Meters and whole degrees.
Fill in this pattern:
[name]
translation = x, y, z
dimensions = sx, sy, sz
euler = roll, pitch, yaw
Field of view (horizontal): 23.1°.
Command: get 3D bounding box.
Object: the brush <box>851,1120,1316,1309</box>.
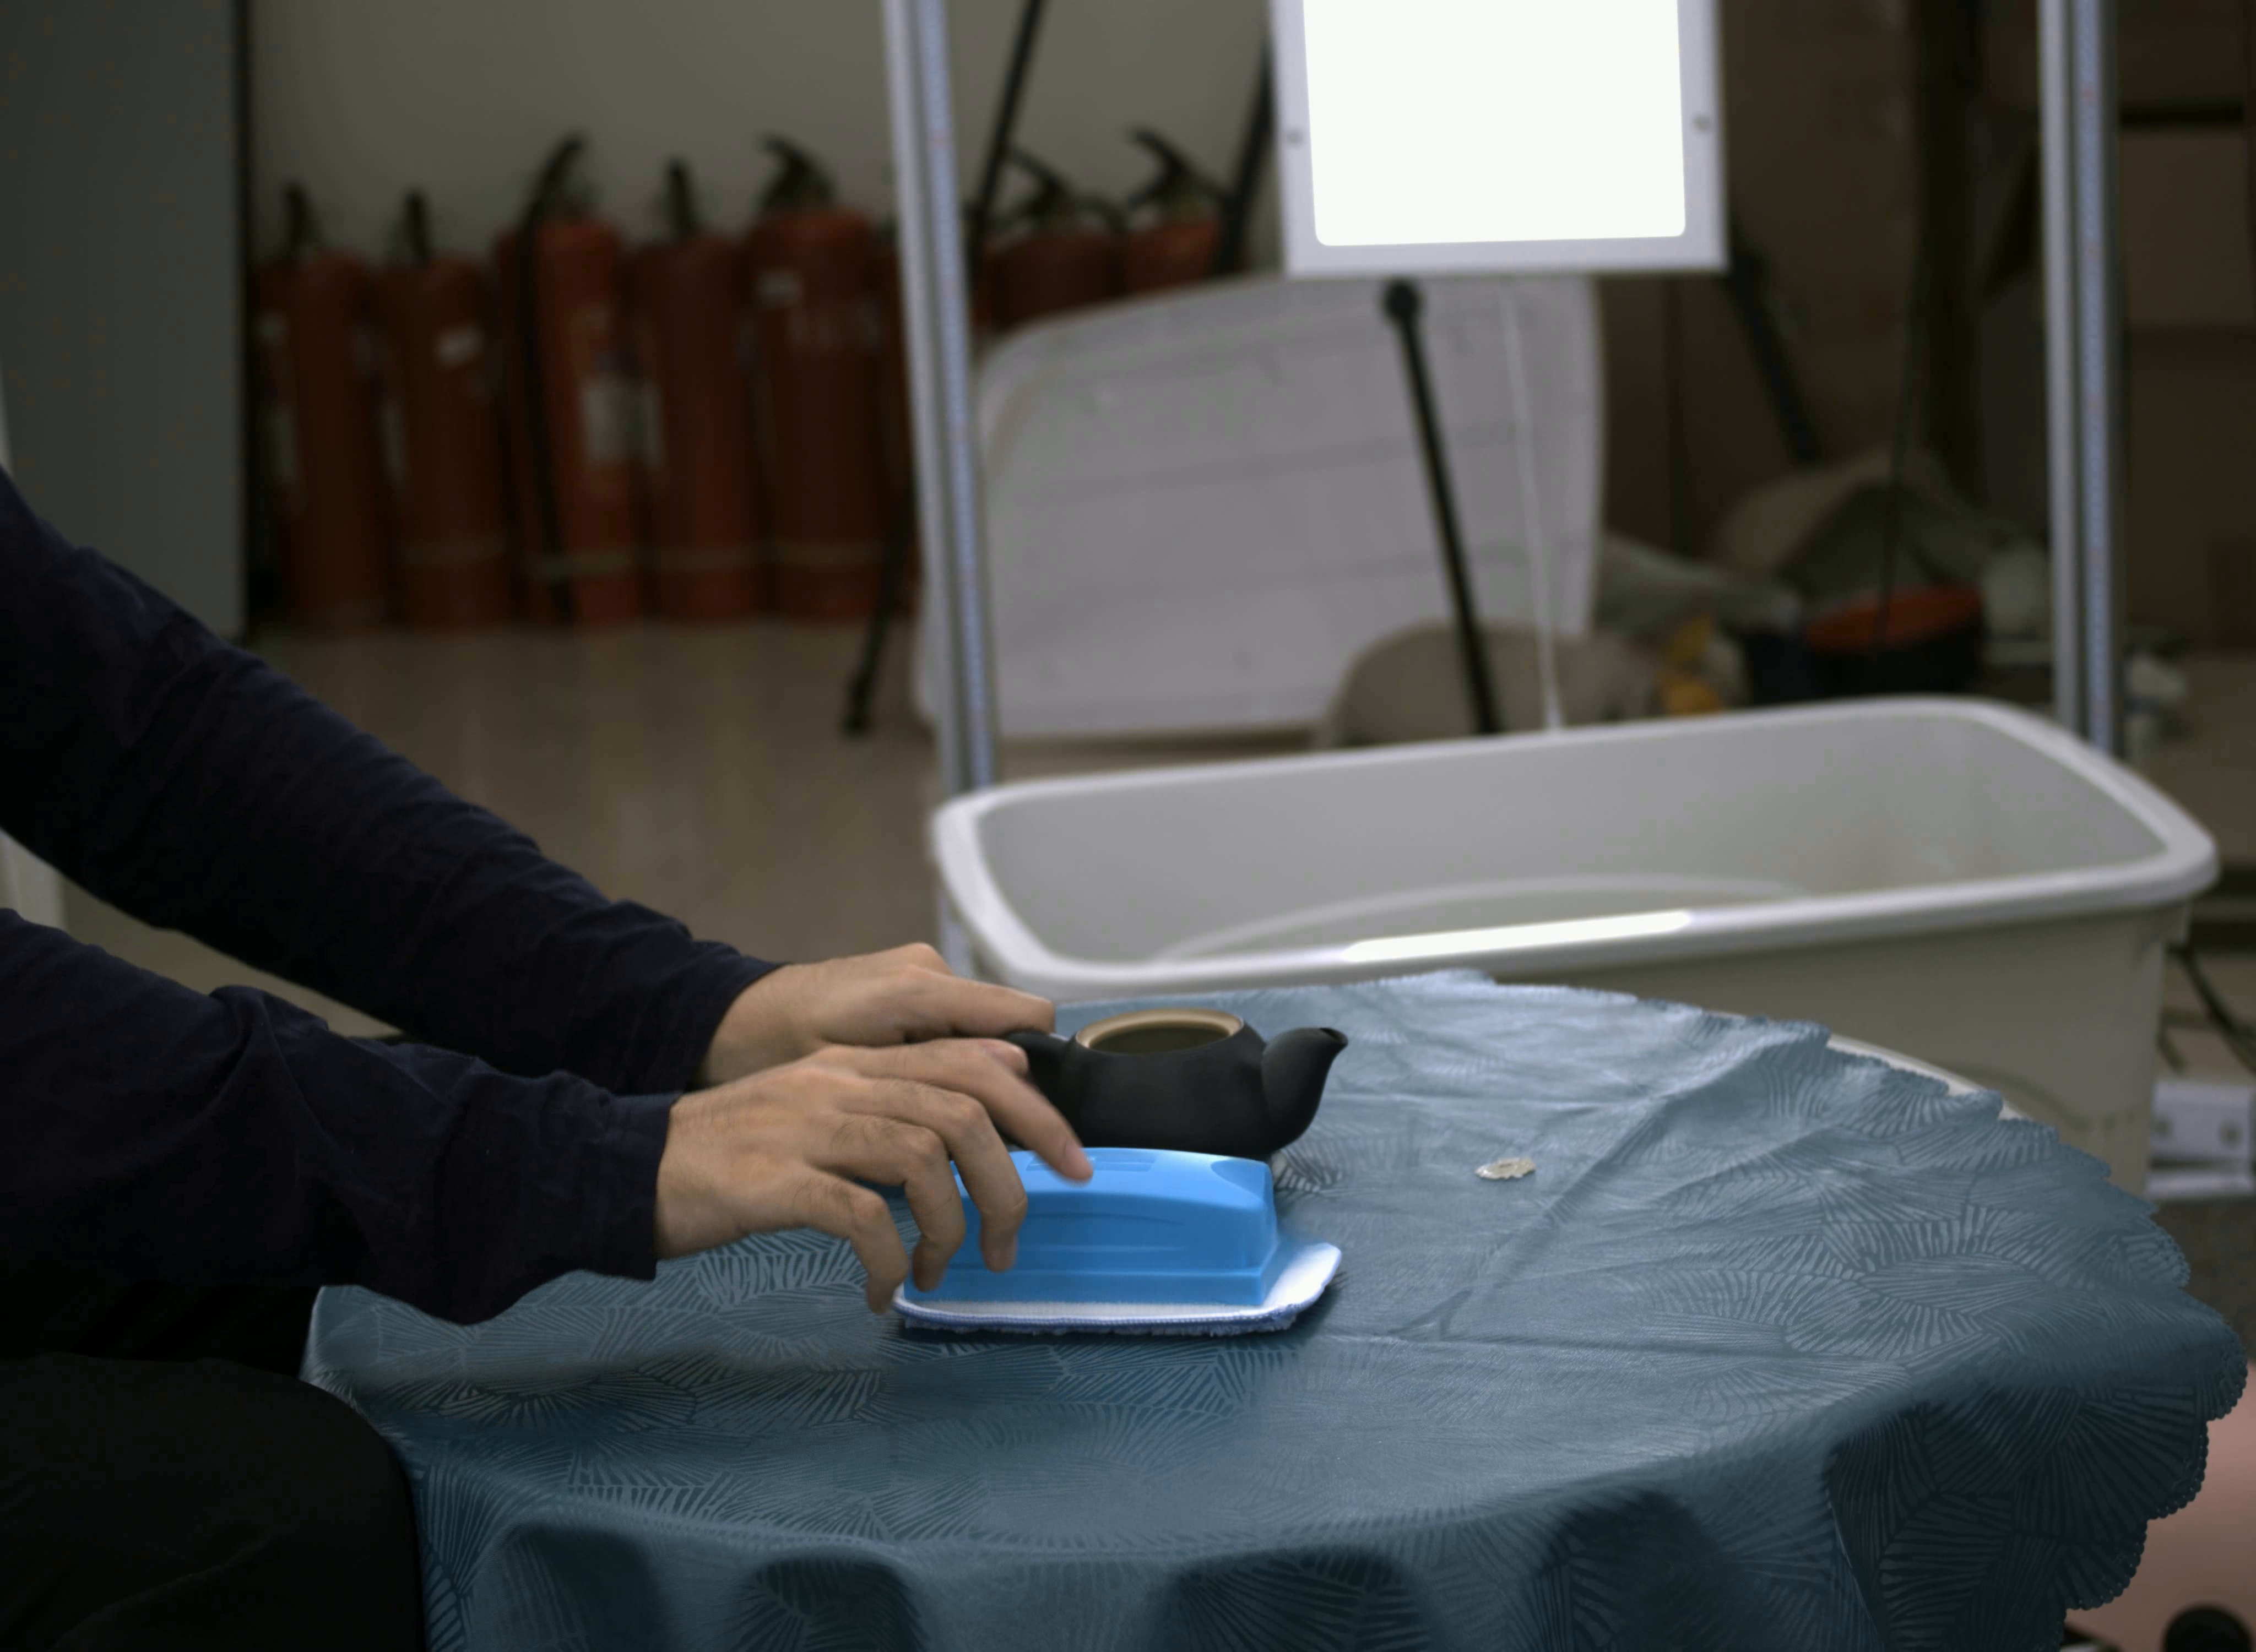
[brush]
translation = -0.014, 0.125, 1.778
dimensions = 0.145, 0.056, 0.082
euler = 3, 12, 18

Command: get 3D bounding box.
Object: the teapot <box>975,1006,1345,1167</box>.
[teapot]
translation = 0.012, 0.095, 1.908
dimensions = 0.134, 0.053, 0.089
euler = 0, 13, 16
